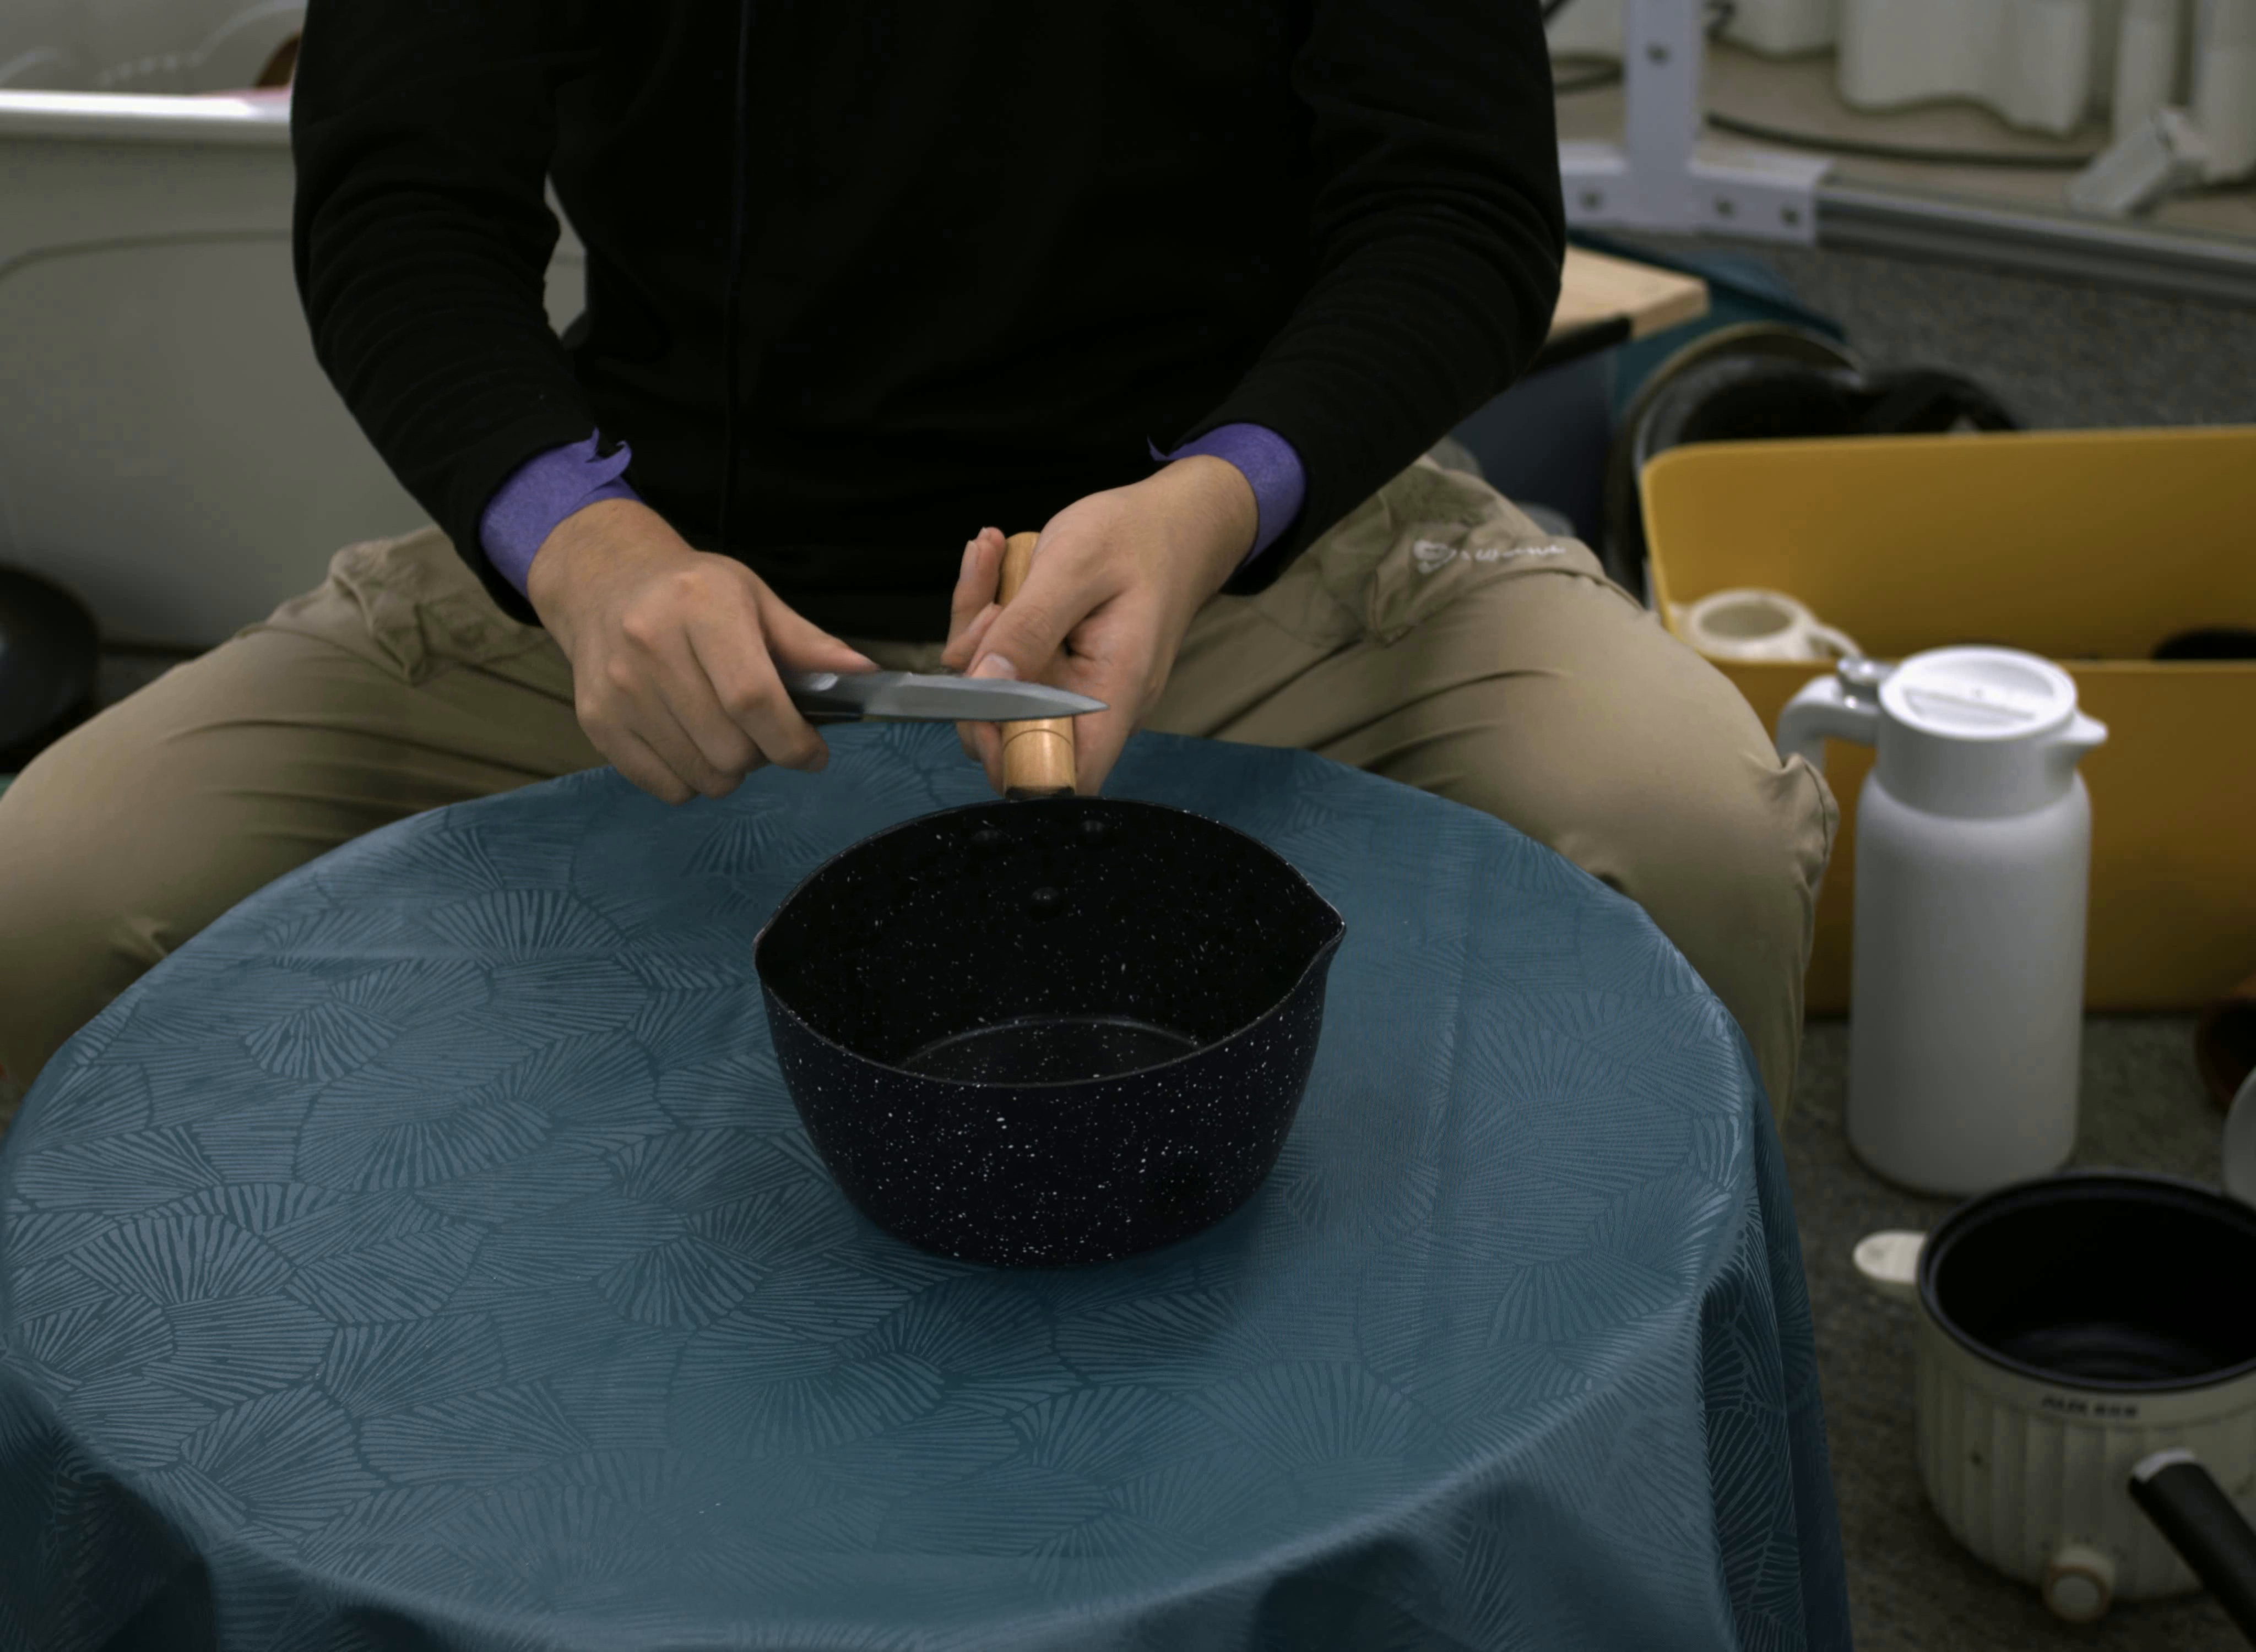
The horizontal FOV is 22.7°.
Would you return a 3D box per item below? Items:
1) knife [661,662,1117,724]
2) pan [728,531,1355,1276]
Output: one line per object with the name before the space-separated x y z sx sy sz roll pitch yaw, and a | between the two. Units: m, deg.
knife | -0.086 -0.045 1.944 0.236 0.016 0.025 3 42 47
pan | -0.030 0.023 1.928 0.206 0.107 0.348 -3 30 -1
